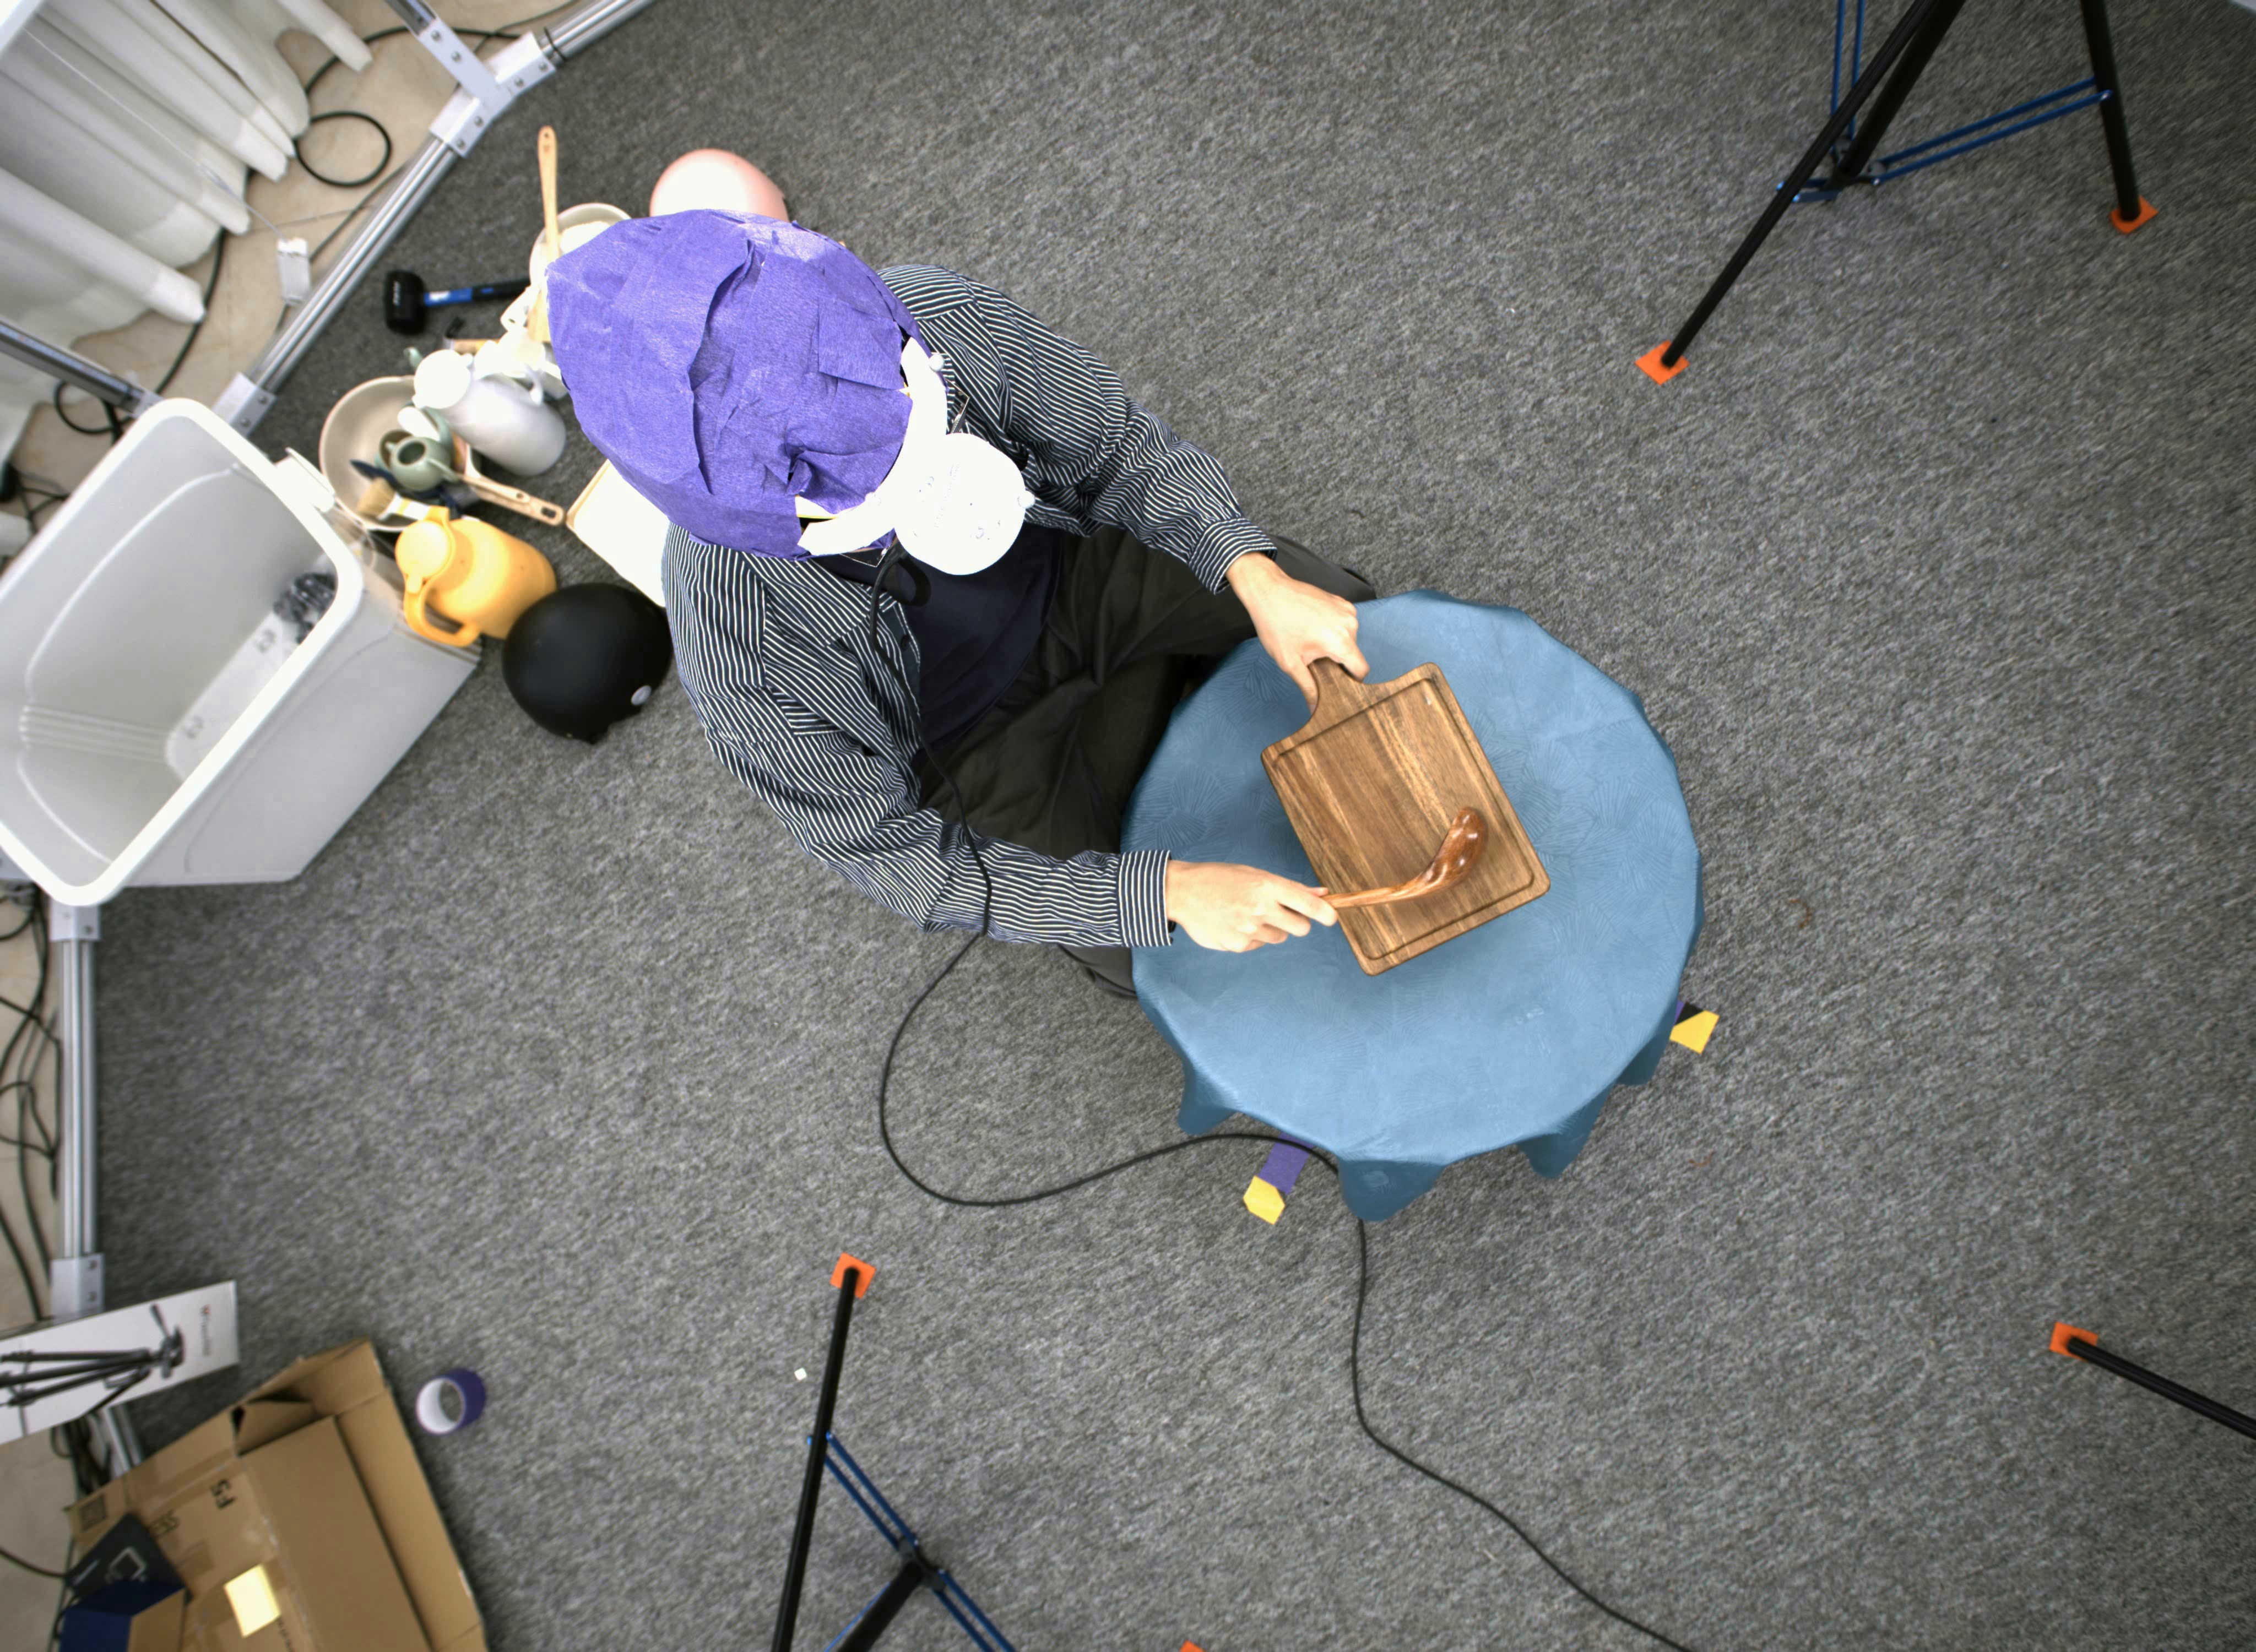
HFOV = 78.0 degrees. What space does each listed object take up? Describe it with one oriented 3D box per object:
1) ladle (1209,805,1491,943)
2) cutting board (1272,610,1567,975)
[{"bbox_3d":[0.200,0.044,1.276,0.276,0.082,0.075,-13,69,19],"label":"ladle"},{"bbox_3d":[0.255,-0.055,1.327,0.203,0.023,0.349,-27,80,19],"label":"cutting board"}]
